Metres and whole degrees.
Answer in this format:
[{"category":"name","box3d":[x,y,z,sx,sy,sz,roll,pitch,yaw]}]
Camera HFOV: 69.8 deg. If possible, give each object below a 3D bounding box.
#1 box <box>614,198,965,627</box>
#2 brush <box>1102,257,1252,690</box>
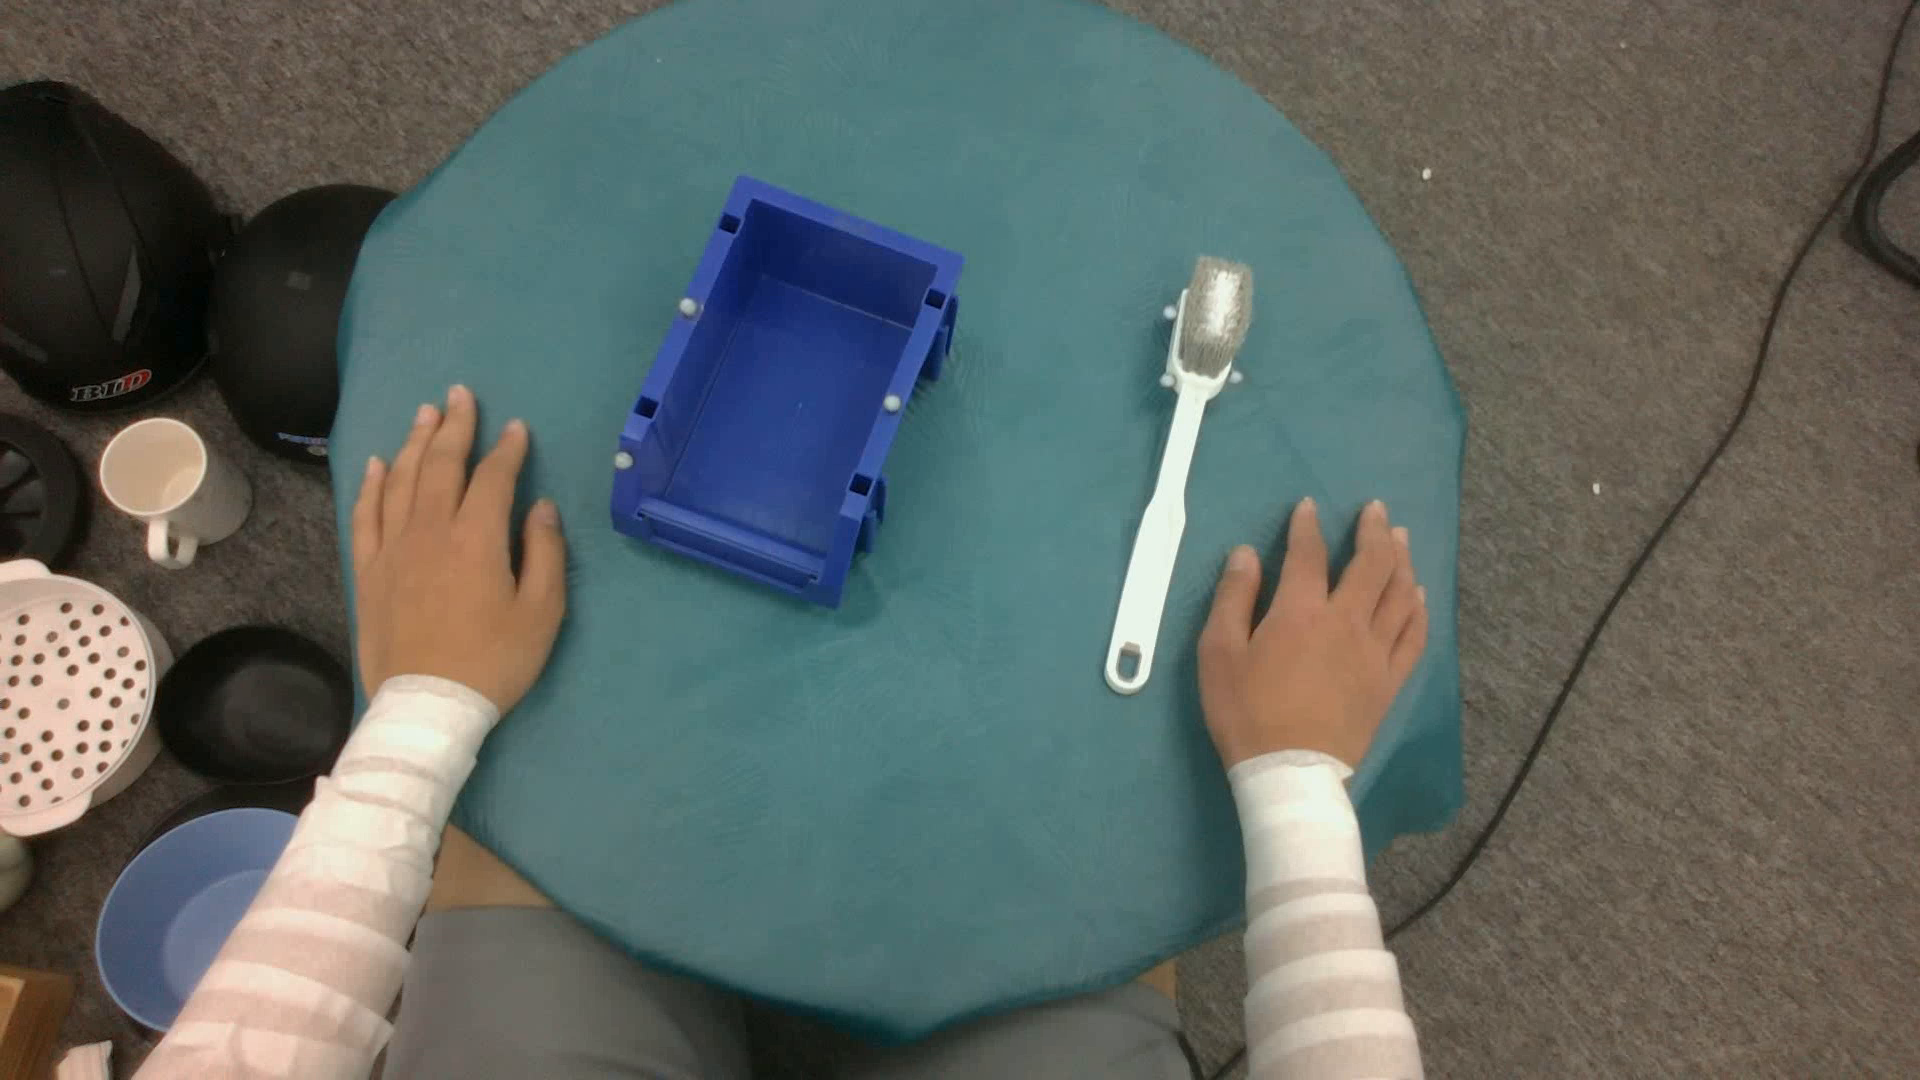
[{"category":"box","box3d":[-0.084,-0.061,0.704,0.124,0.081,0.180,21,72,1]},{"category":"brush","box3d":[0.116,-0.040,0.732,0.034,0.050,0.244,16,72,-1]}]
